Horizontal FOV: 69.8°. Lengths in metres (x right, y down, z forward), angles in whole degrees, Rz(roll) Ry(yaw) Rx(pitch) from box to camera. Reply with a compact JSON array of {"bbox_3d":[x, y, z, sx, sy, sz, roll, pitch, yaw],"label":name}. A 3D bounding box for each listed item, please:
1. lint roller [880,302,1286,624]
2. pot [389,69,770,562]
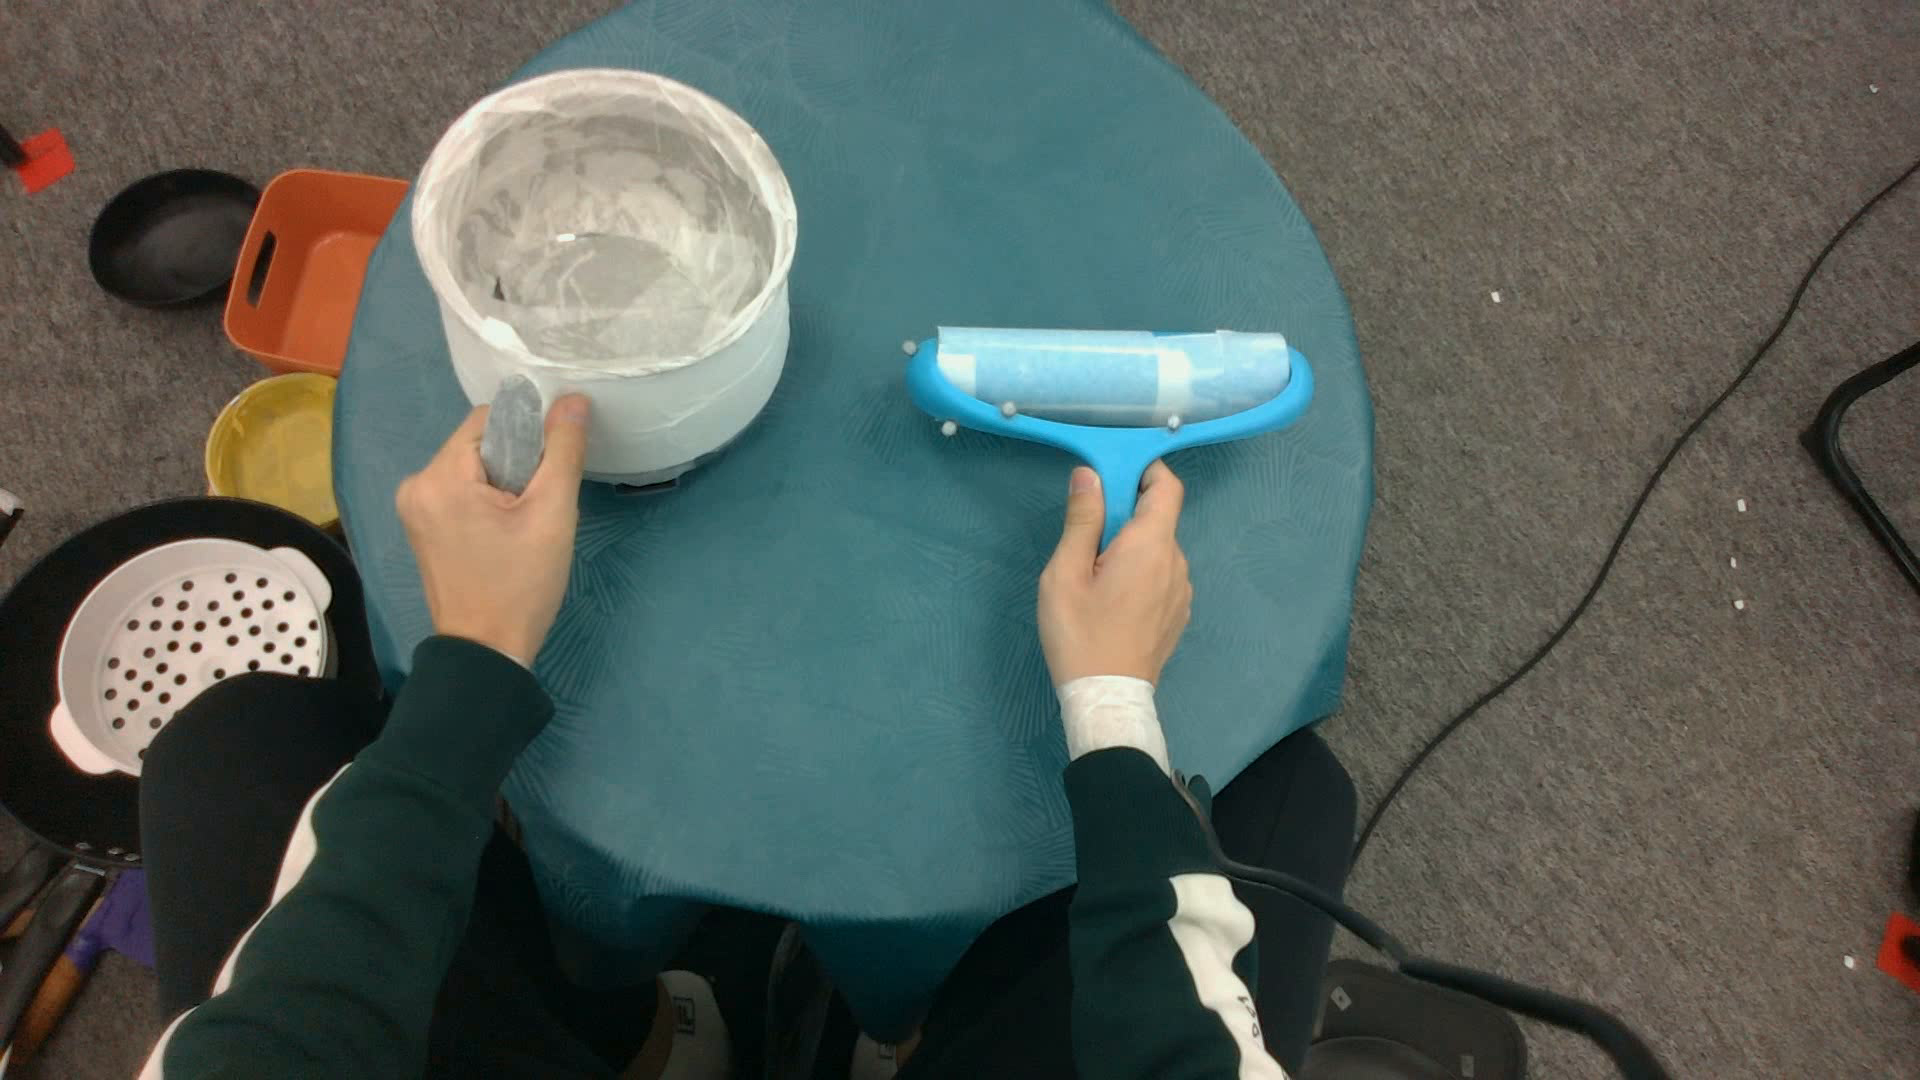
[{"bbox_3d":[0.075,-0.049,0.756,0.229,0.067,0.181,-4,70,-6],"label":"lint roller"},{"bbox_3d":[-0.197,-0.108,0.703,0.179,0.136,0.234,17,63,-3],"label":"pot"}]
